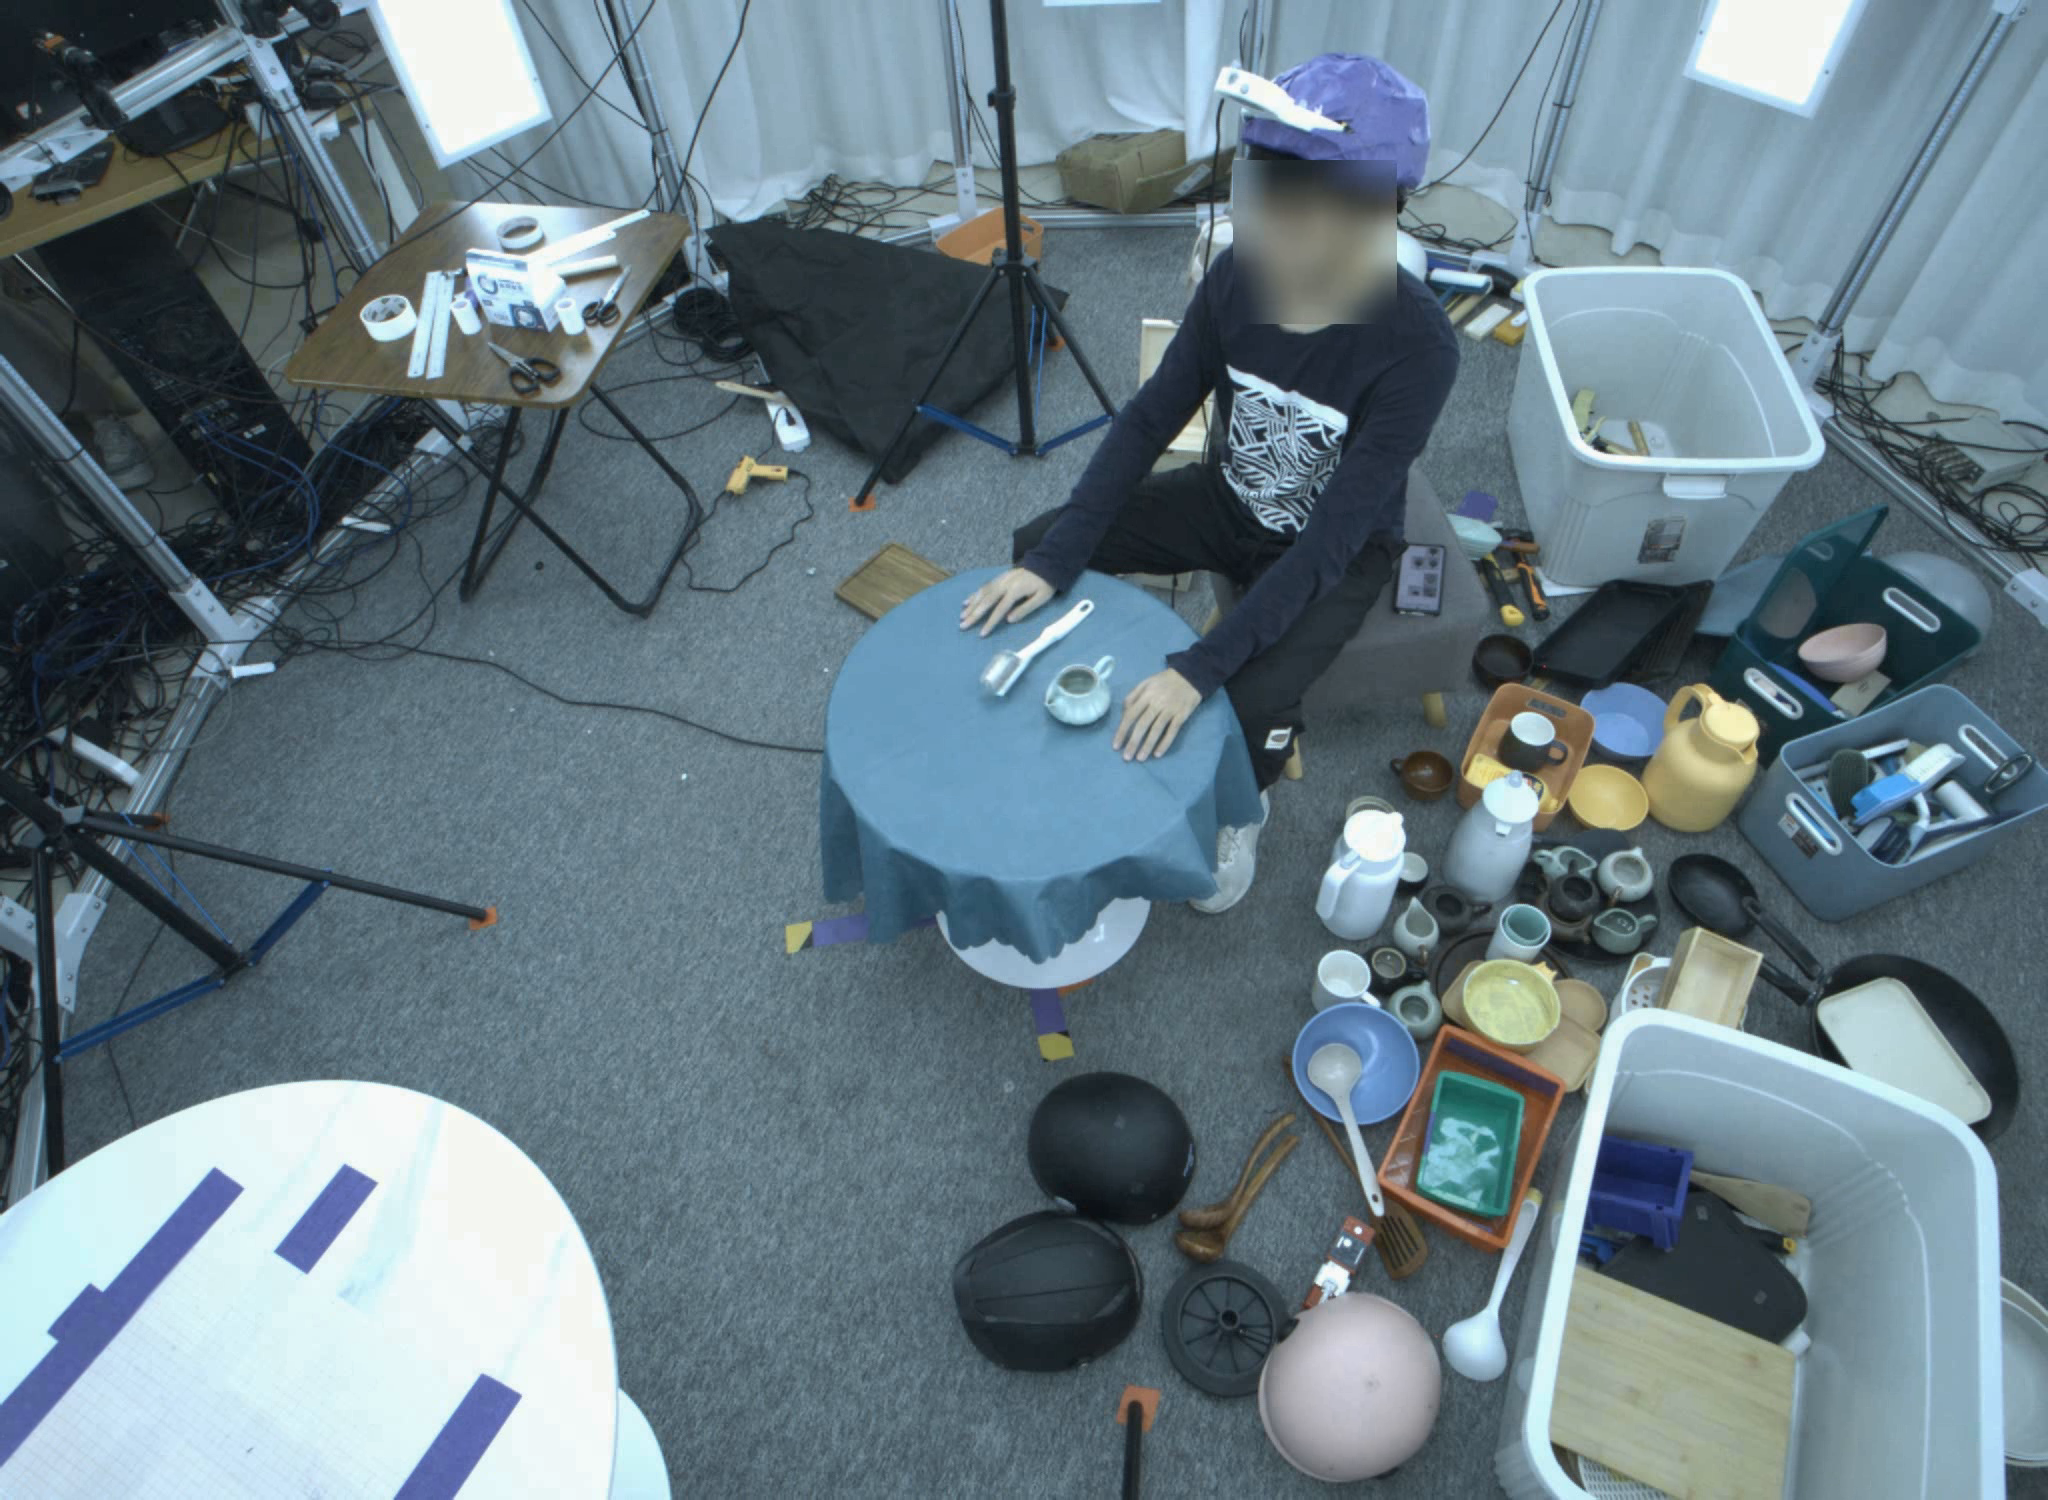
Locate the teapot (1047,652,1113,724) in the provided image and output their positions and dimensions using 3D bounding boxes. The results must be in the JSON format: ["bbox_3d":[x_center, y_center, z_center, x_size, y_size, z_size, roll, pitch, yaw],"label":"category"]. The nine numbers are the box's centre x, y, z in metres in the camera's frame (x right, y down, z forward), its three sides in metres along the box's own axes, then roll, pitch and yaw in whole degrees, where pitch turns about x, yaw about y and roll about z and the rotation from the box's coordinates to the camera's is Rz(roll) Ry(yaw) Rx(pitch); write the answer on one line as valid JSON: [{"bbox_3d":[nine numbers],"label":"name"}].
[{"bbox_3d":[0.083,-0.089,1.803,0.094,0.062,0.138,36,64,28],"label":"teapot"}]

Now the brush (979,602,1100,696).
[{"bbox_3d":[0.027,-0.167,1.869,0.034,0.051,0.245,35,63,30],"label":"brush"}]
